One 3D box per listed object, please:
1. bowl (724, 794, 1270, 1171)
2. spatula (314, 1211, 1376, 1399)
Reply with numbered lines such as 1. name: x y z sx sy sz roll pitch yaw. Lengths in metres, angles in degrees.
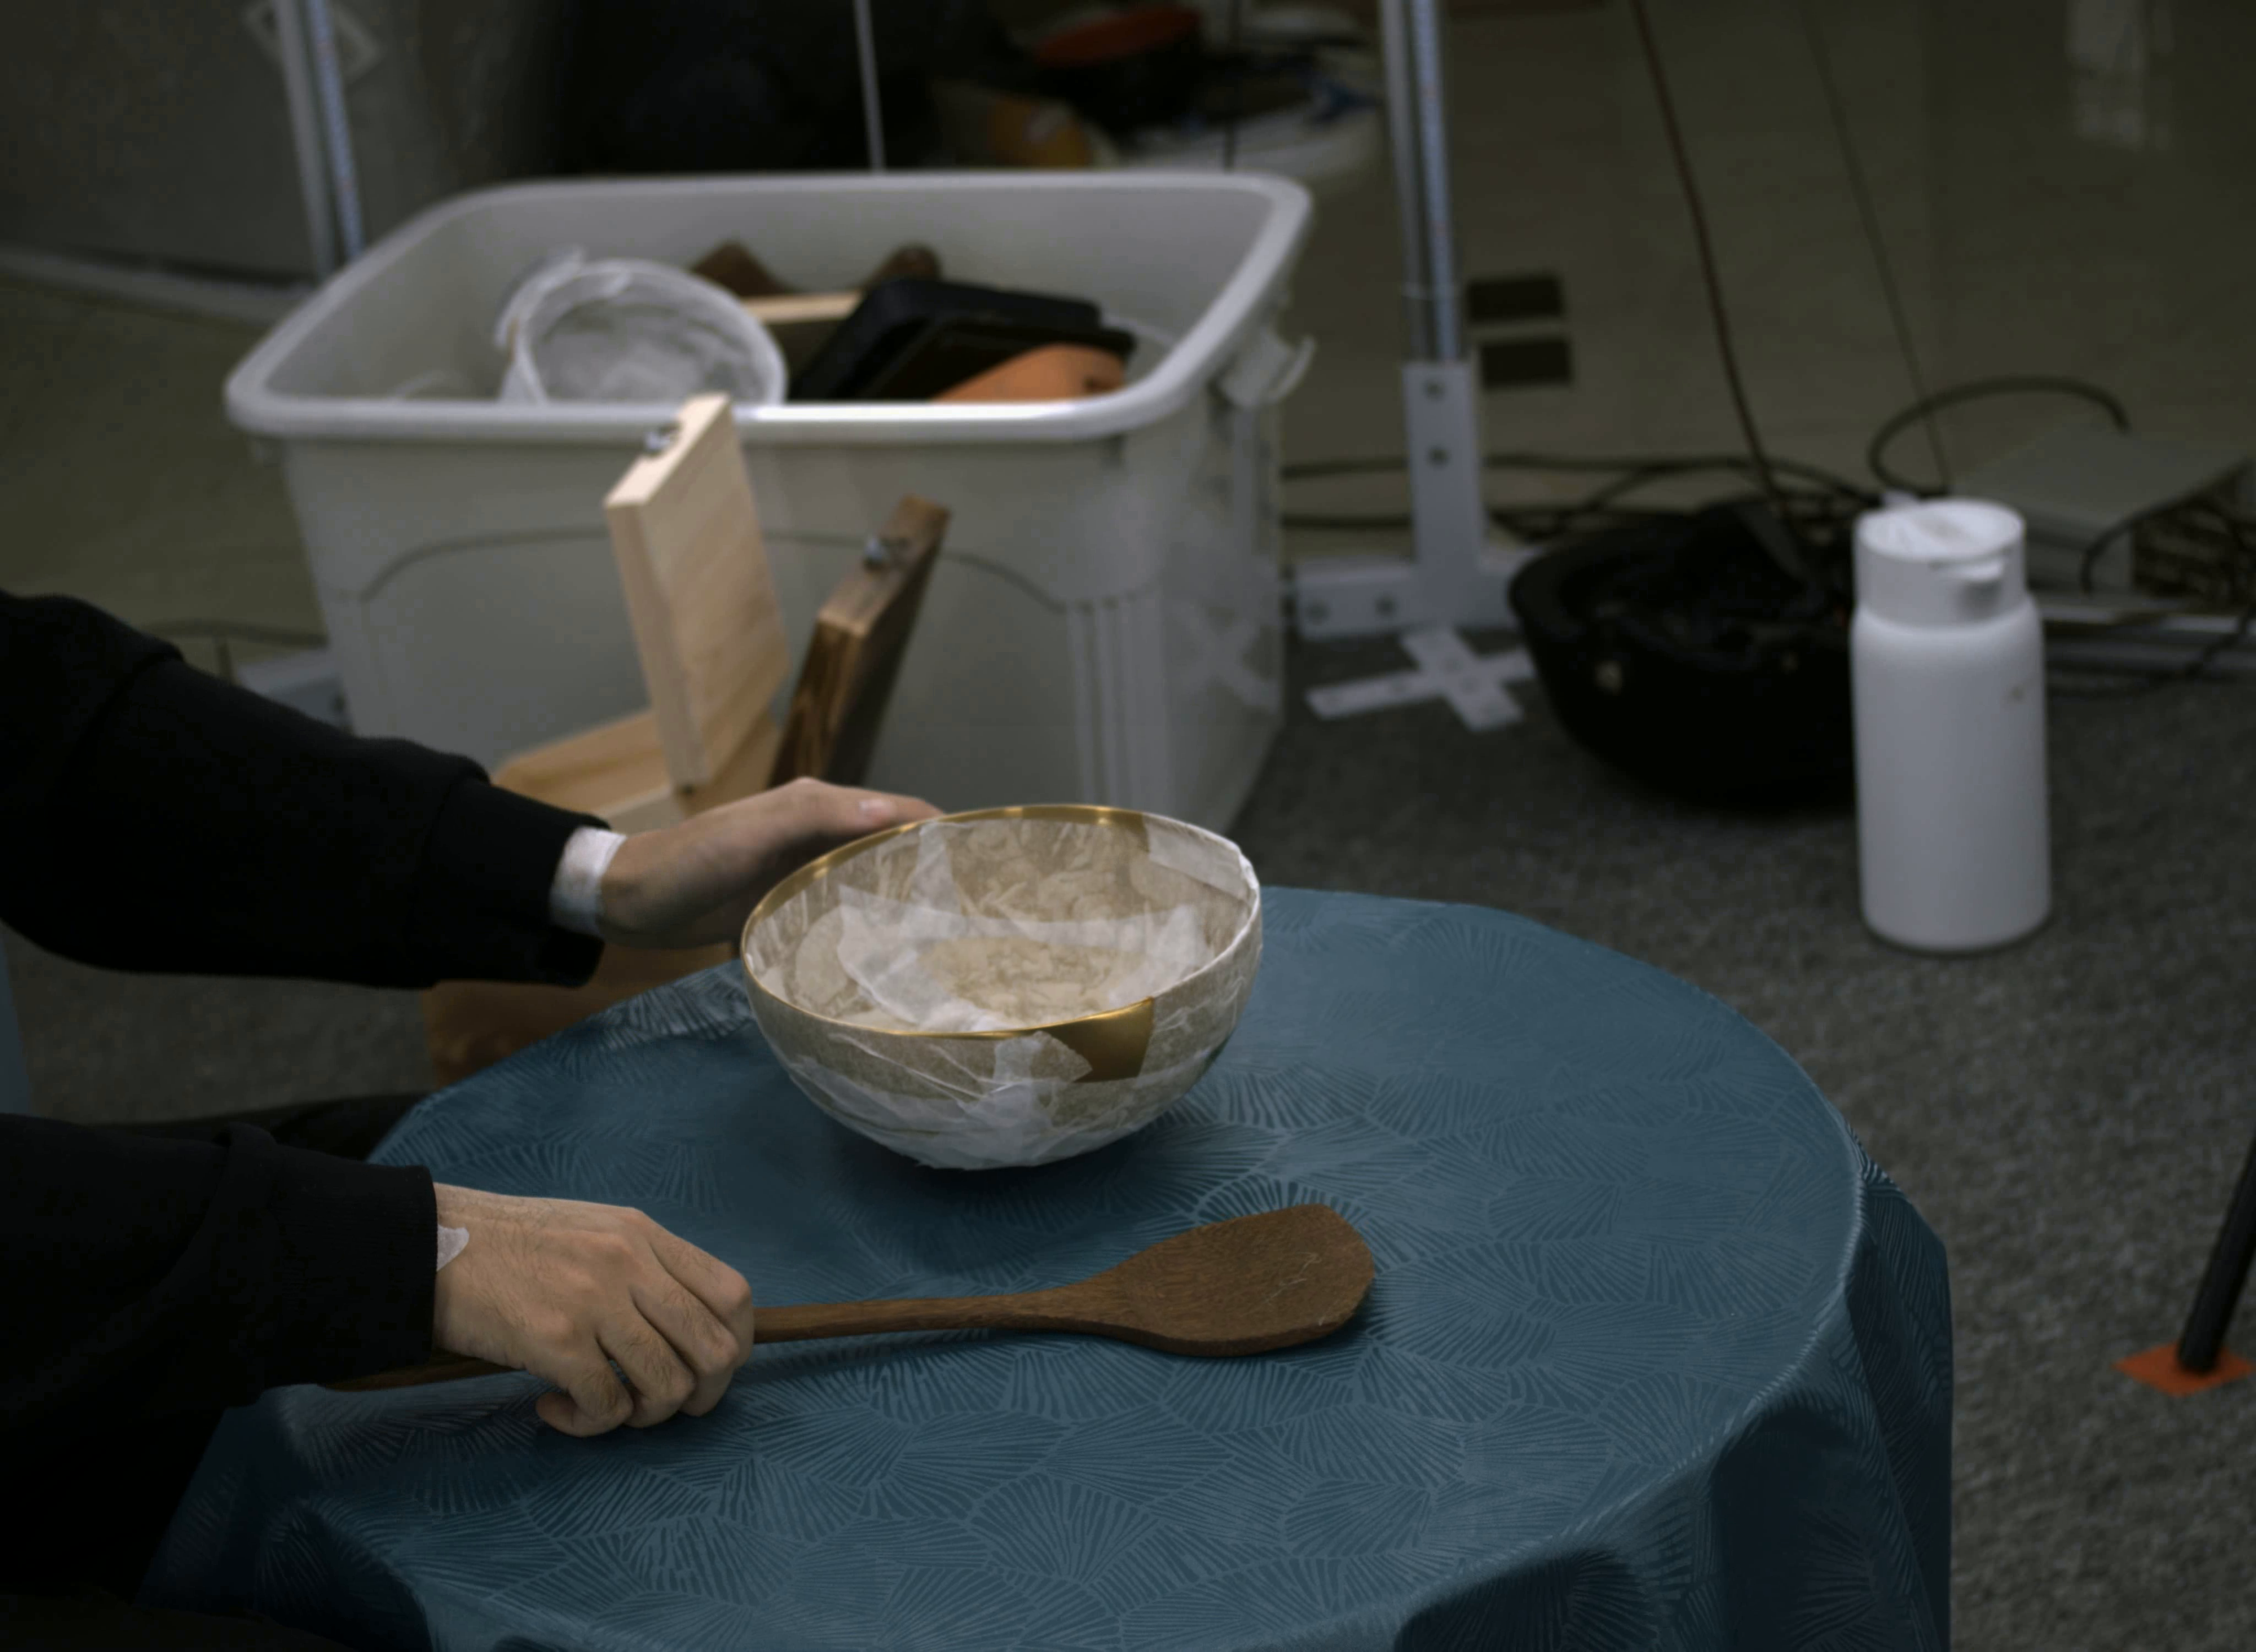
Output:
1. bowl: -0.046 0.073 2.193 0.214 0.096 0.211 -6 26 3
2. spatula: -0.102 0.180 2.057 0.385 0.016 0.095 -5 24 -4
